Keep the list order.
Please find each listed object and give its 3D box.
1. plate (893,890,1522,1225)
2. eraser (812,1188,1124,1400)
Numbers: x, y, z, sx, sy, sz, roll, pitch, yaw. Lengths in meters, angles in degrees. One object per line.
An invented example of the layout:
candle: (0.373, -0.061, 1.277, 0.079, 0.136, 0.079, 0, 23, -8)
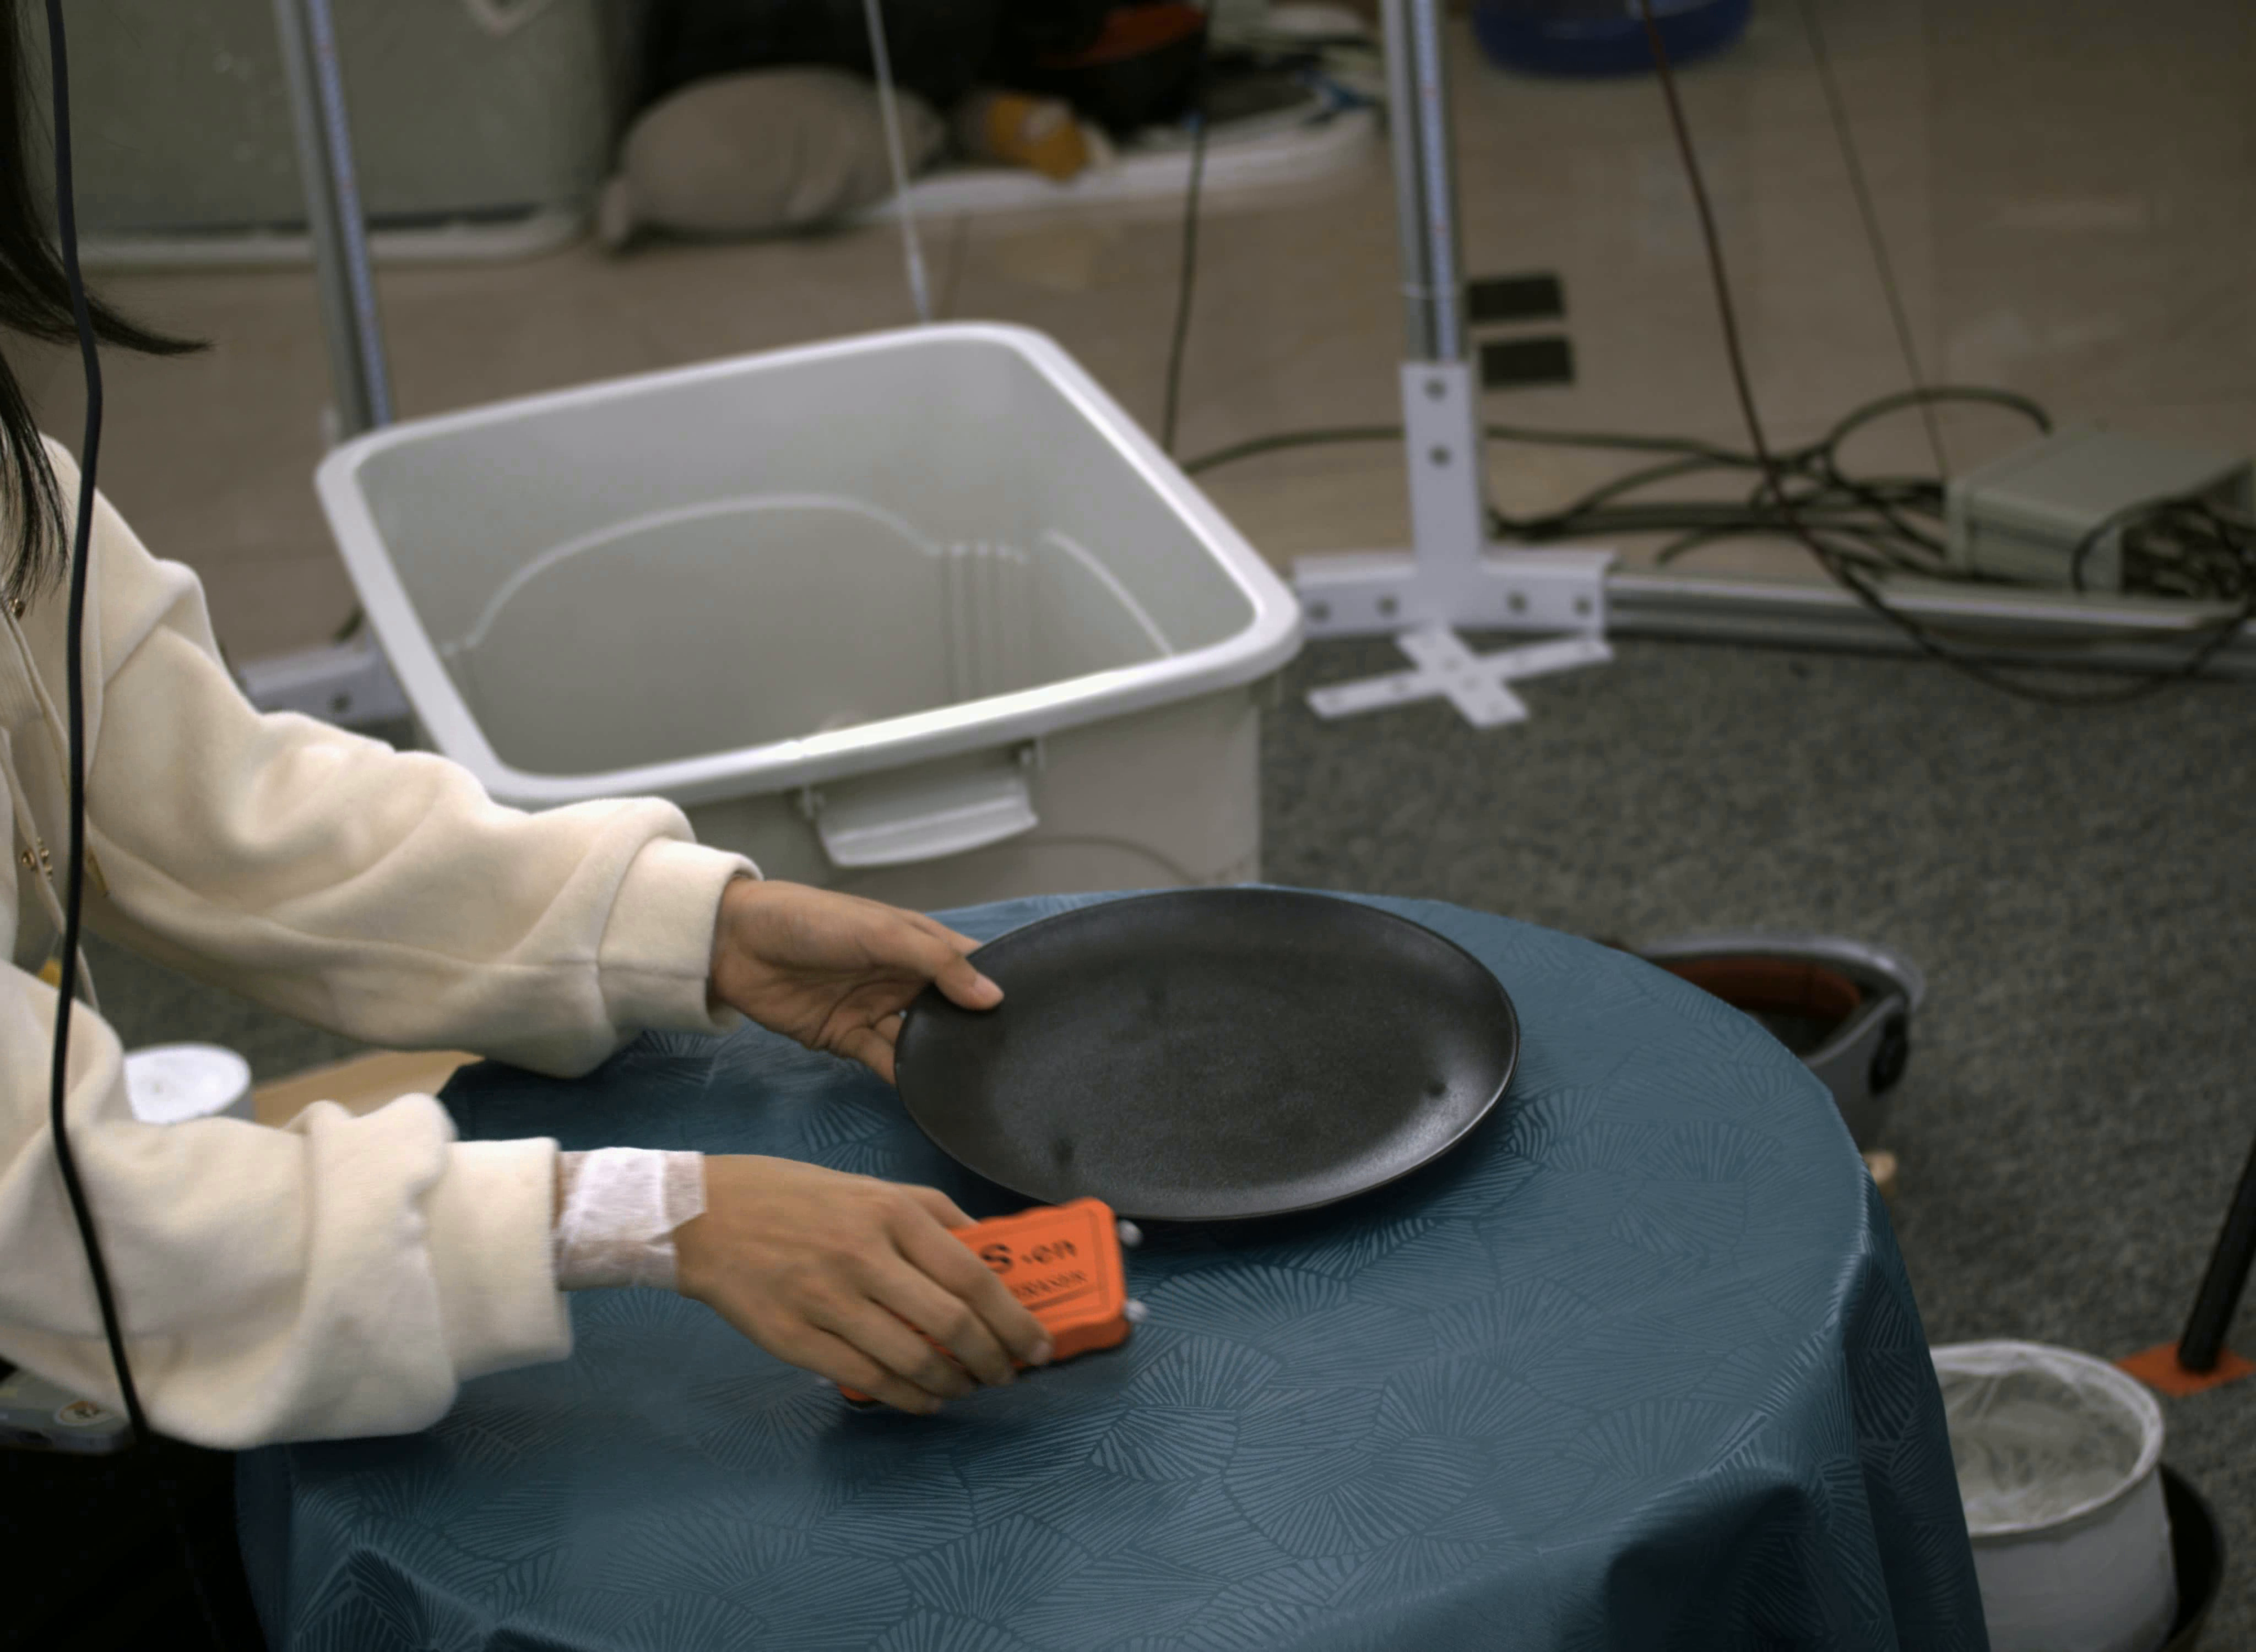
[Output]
plate: (0.031, 0.094, 2.191, 0.244, 0.024, 0.240, -3, 29, 2)
eraser: (-0.057, 0.167, 2.027, 0.108, 0.023, 0.058, -13, 49, 4)
